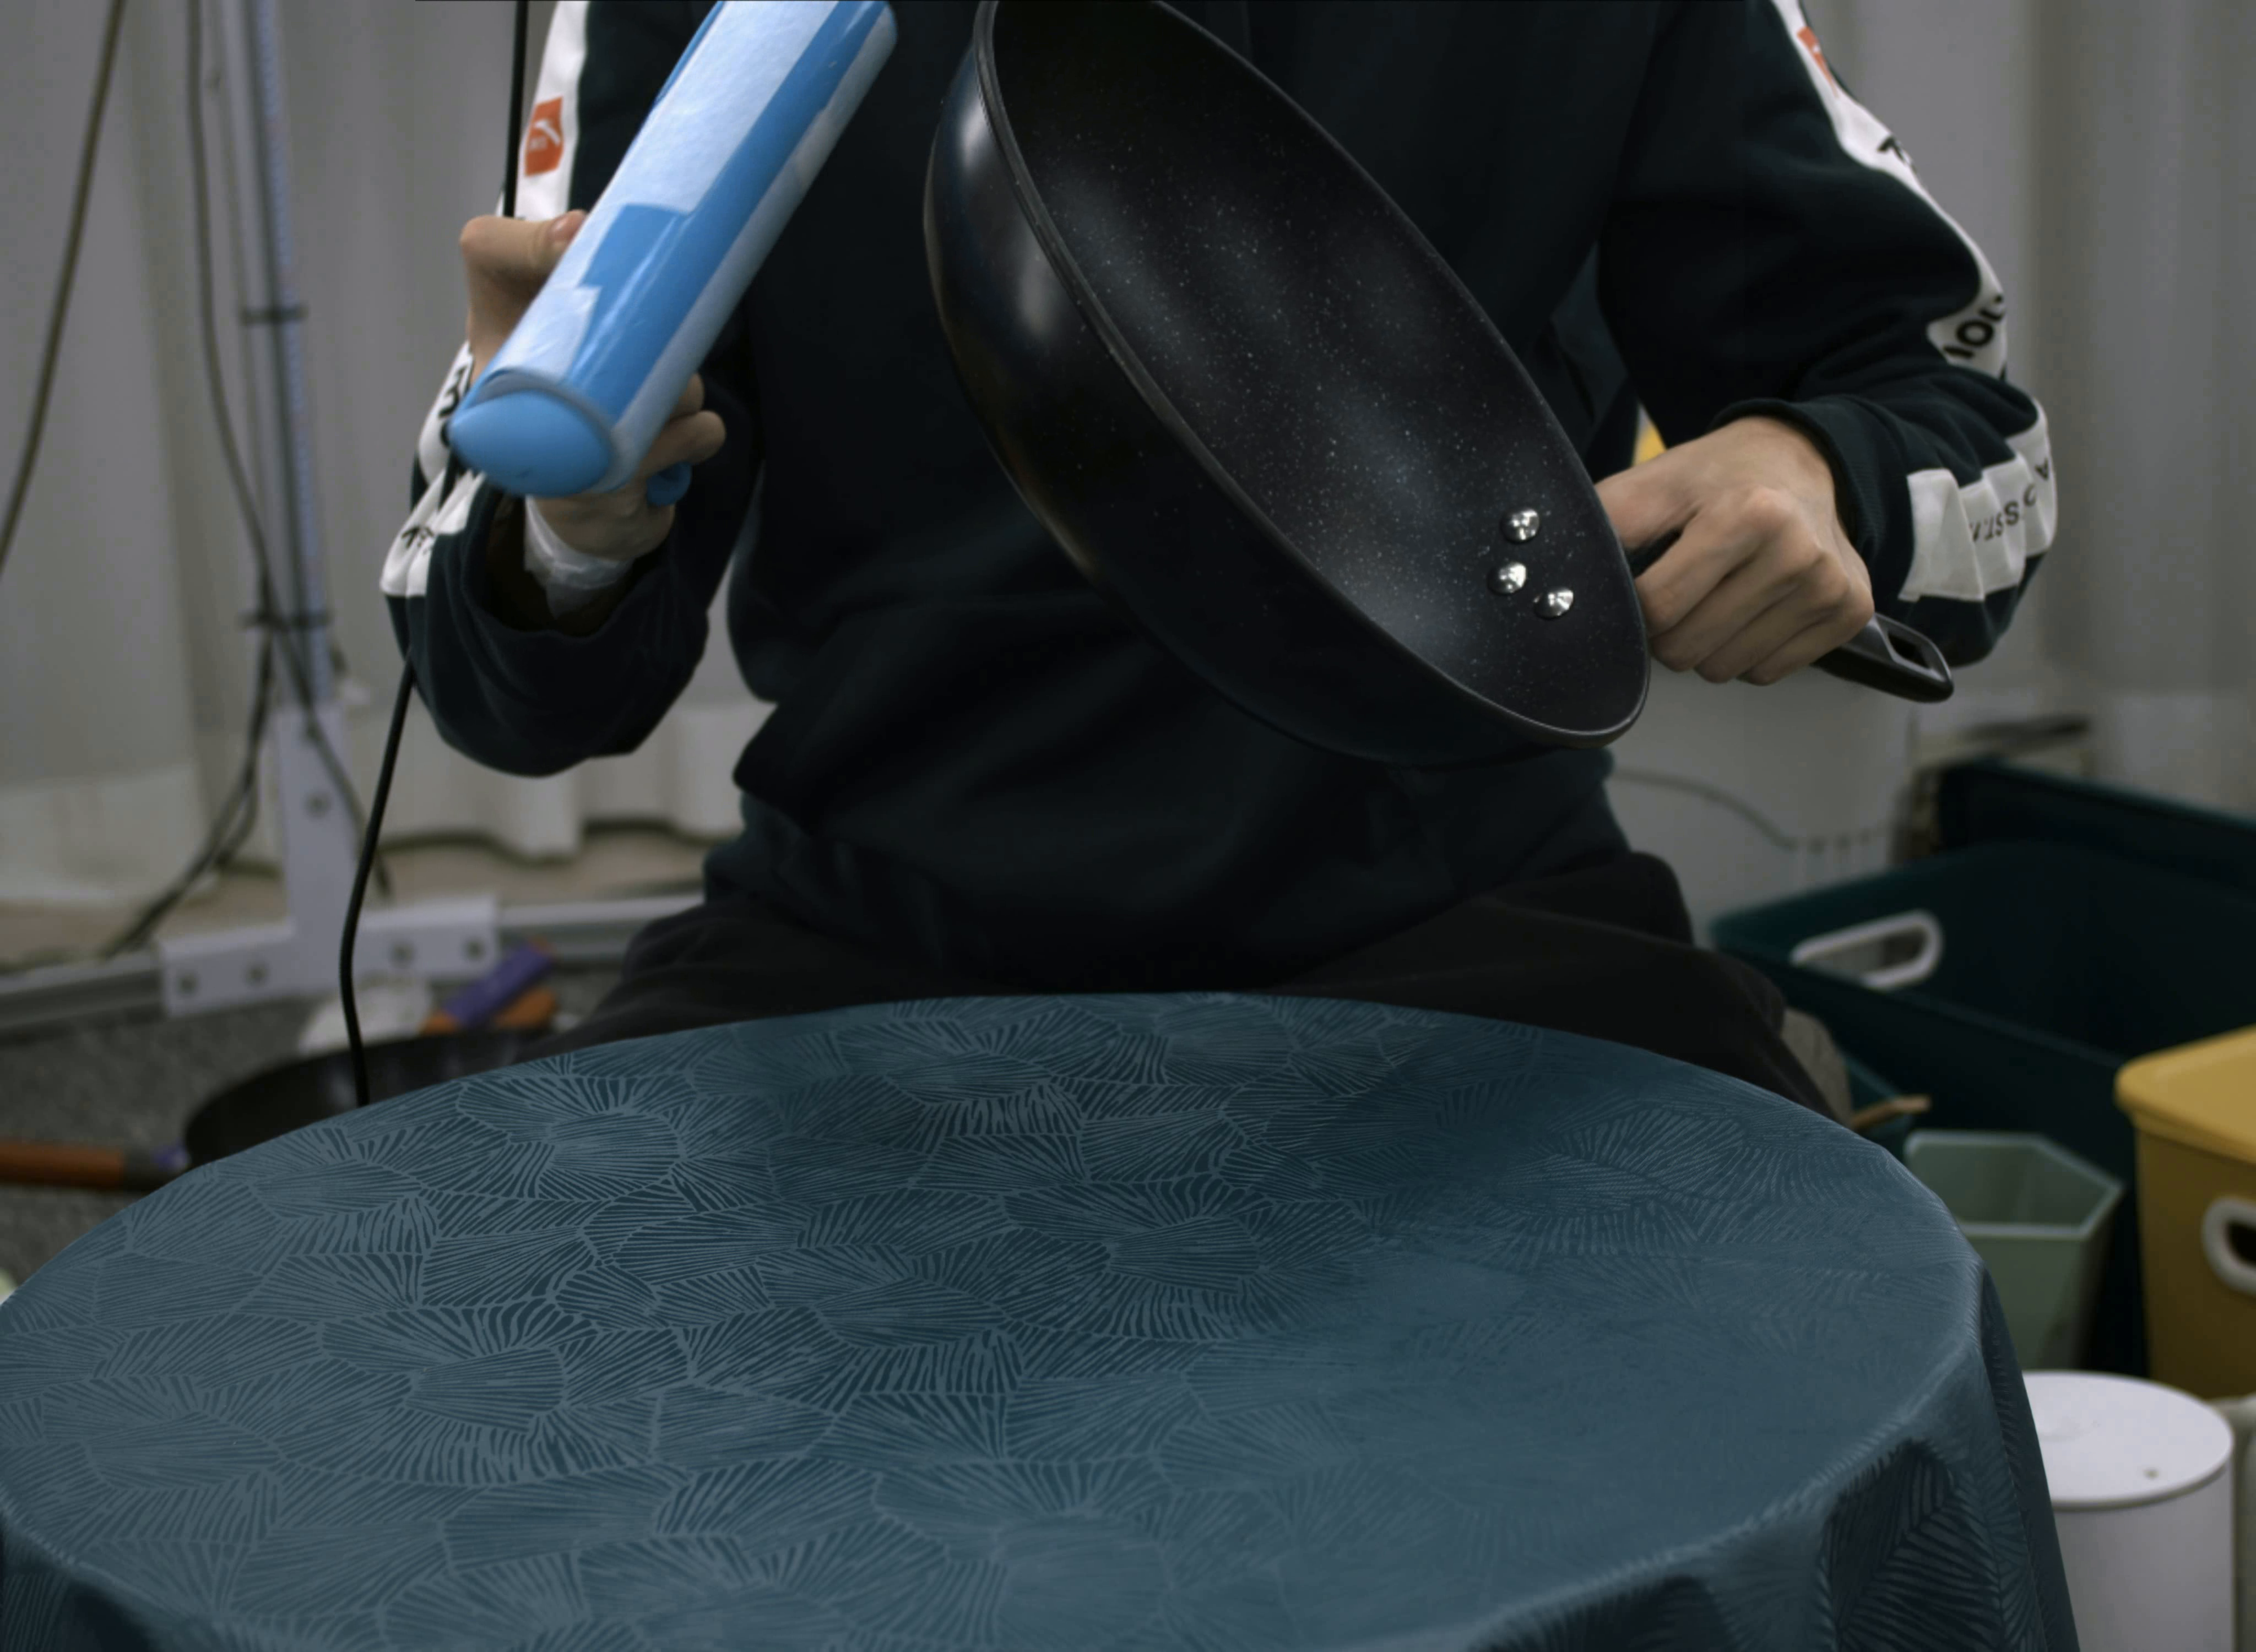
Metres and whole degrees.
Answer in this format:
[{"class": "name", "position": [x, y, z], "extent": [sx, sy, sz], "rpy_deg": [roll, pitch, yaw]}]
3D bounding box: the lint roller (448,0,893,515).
[{"class": "lint roller", "position": [-0.154, -0.163, 1.758], "extent": [0.068, 0.178, 0.231], "rpy_deg": [27, 55, -1]}]

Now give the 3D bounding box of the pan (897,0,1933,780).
[{"class": "pan", "position": [0.089, -0.107, 1.788], "extent": [0.471, 0.111, 0.315], "rpy_deg": [28, 33, -42]}]
